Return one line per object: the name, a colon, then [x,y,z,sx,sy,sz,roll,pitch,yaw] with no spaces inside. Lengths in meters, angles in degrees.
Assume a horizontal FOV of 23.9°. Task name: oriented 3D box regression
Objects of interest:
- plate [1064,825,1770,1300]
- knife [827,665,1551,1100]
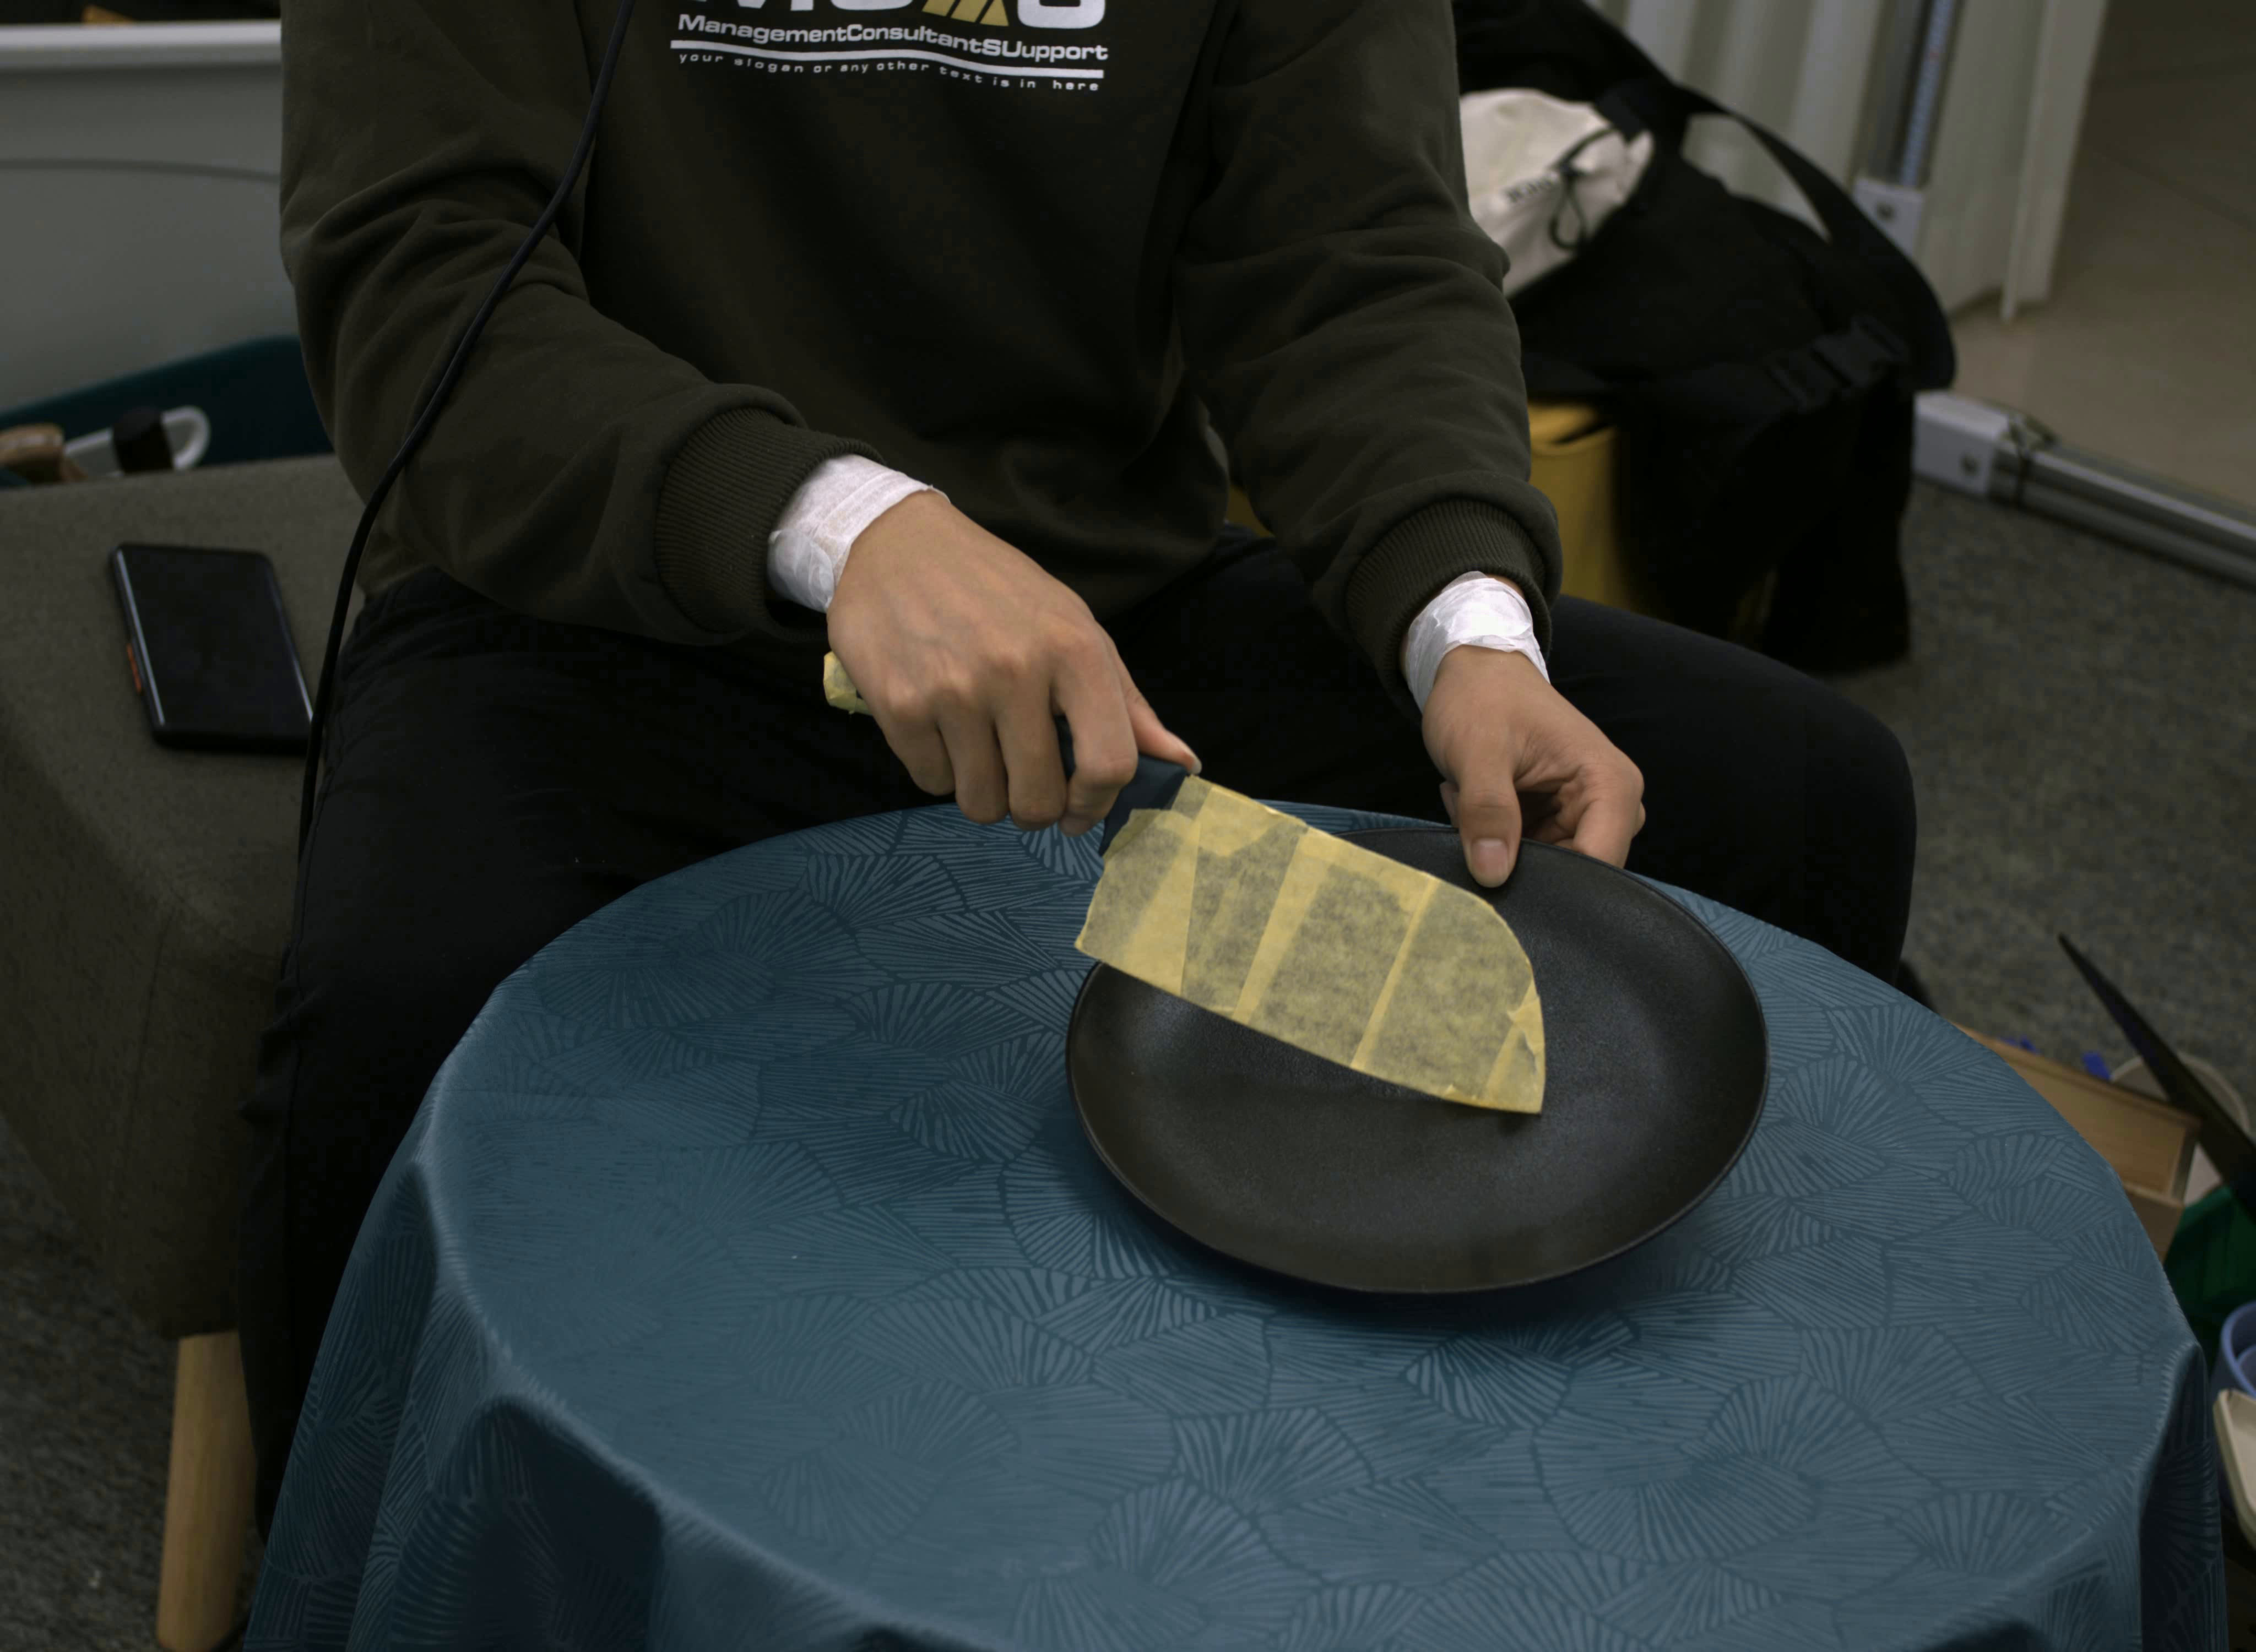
plate: [0.099,0.084,1.834,0.244,0.023,0.246,-2,39,1]
knife: [0.017,0.018,1.848,0.290,0.081,0.027,26,1,14]
